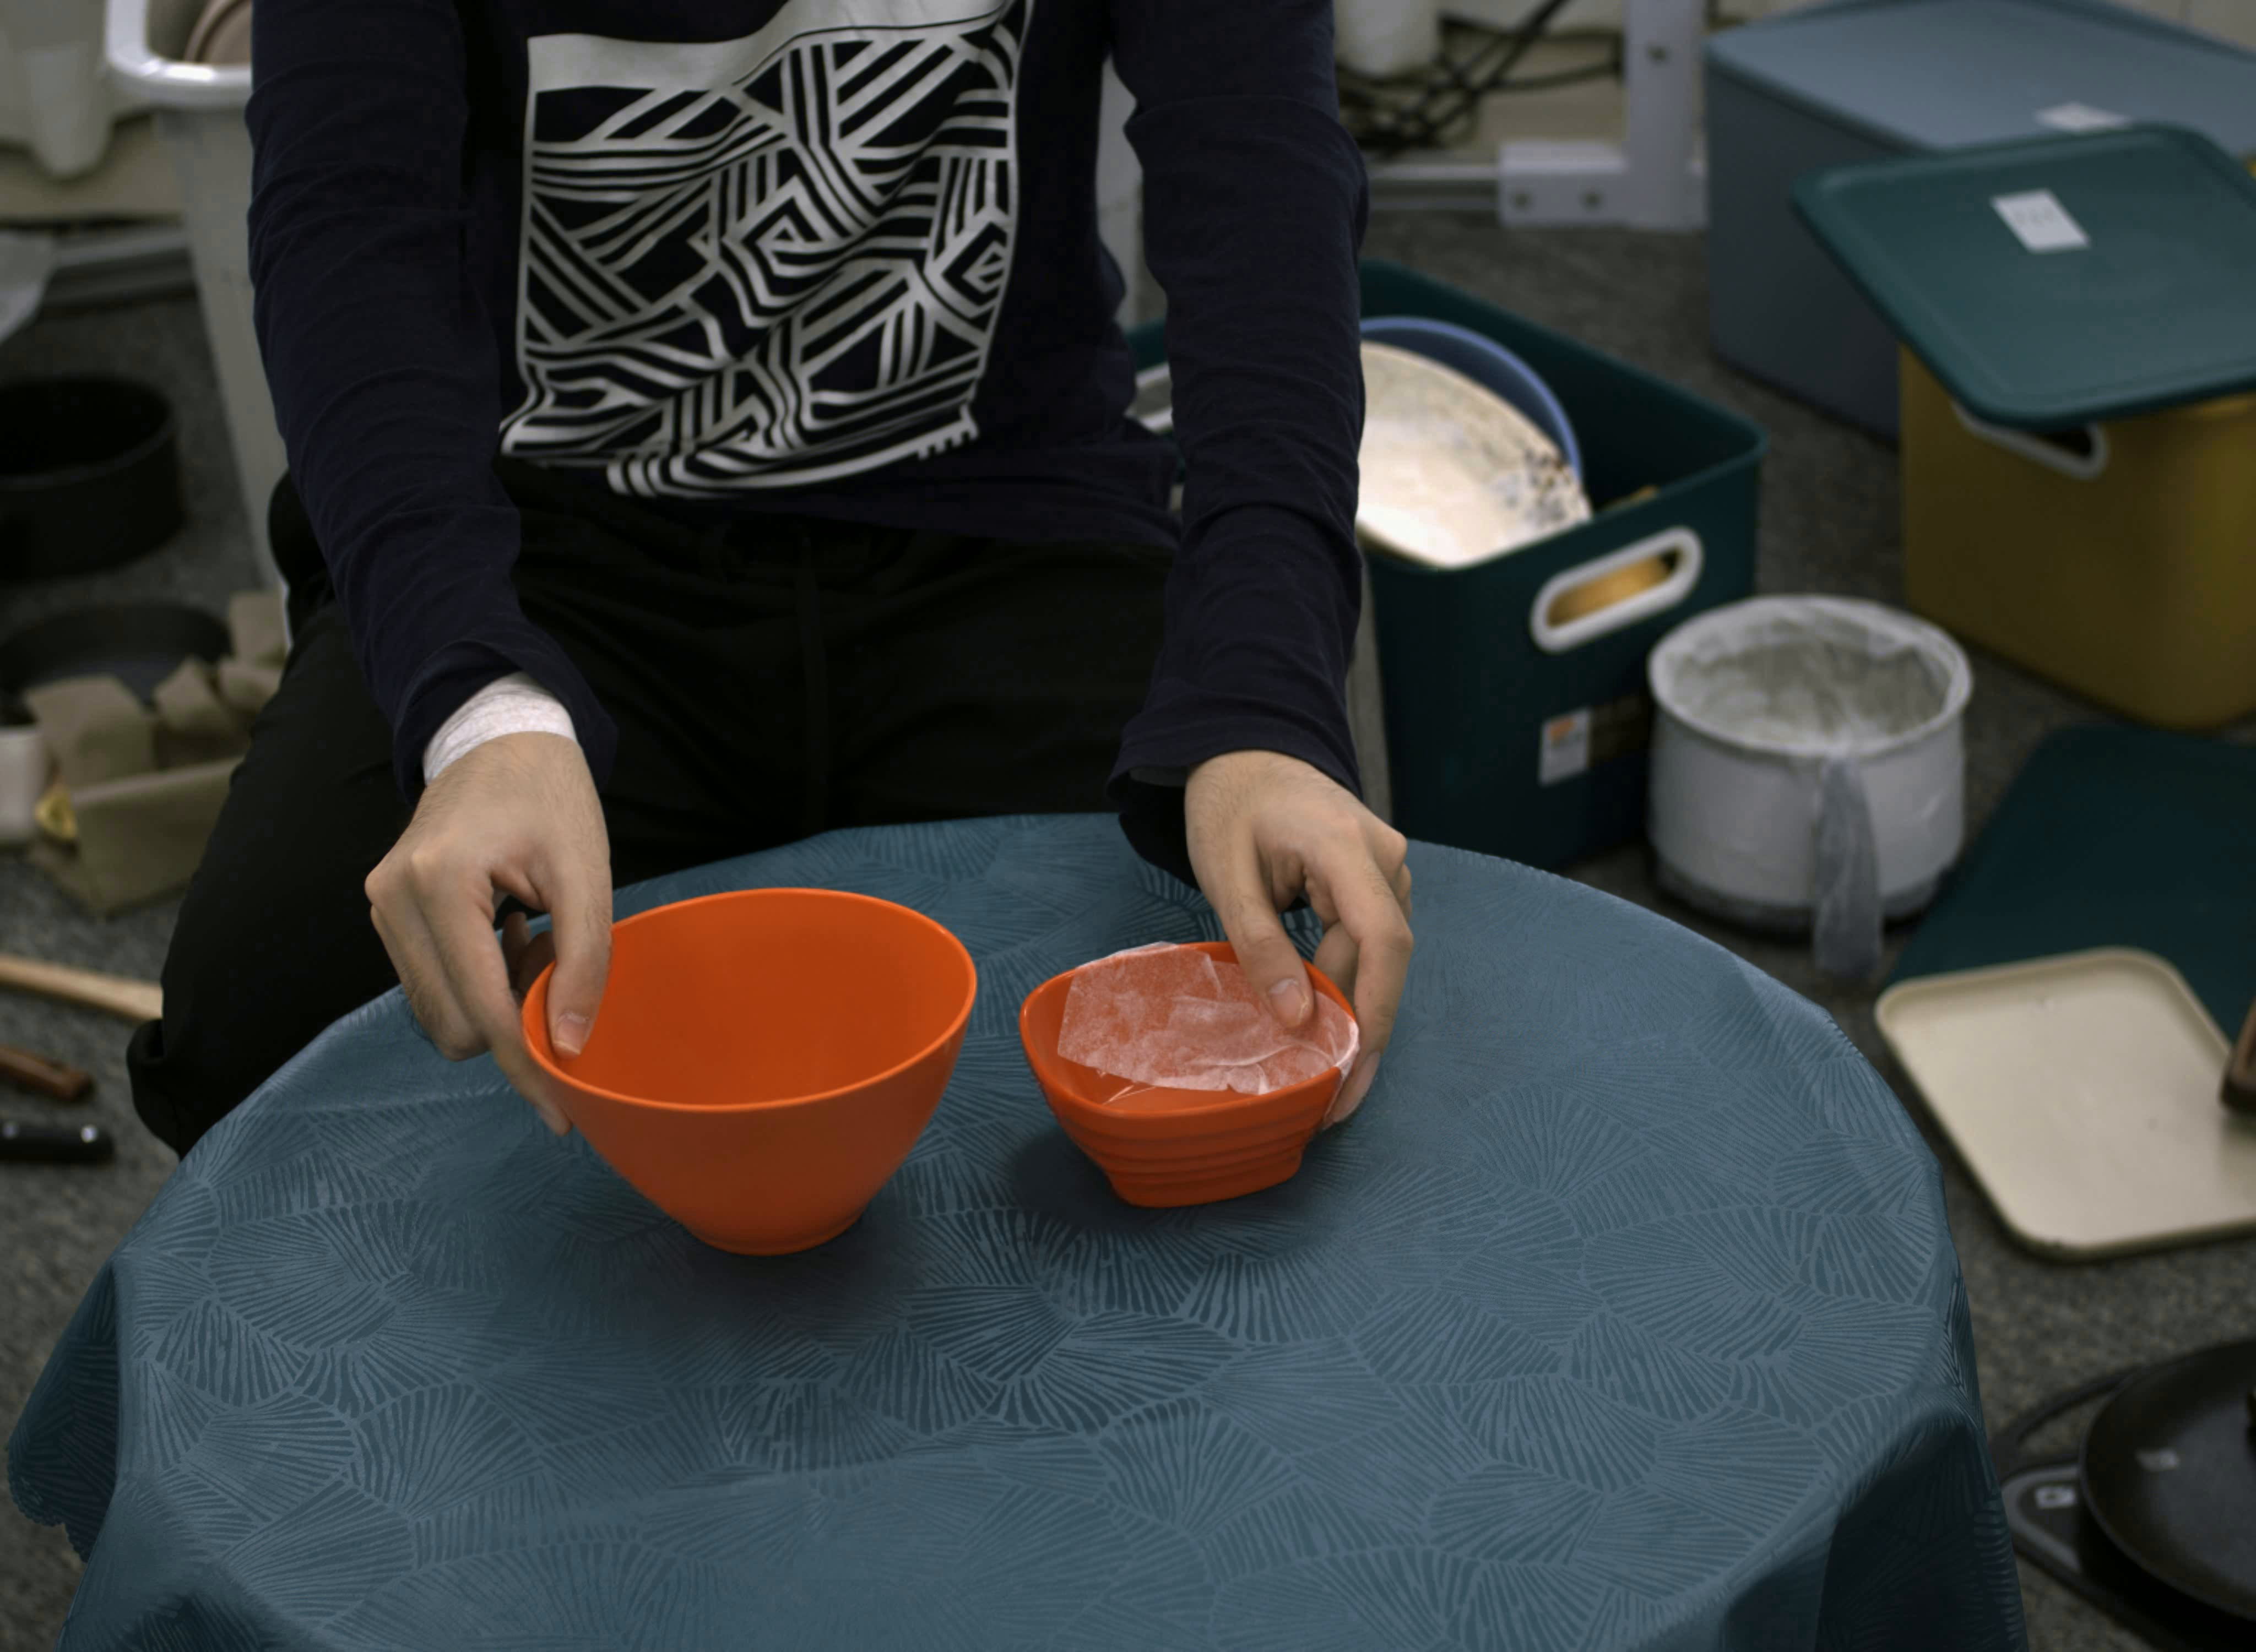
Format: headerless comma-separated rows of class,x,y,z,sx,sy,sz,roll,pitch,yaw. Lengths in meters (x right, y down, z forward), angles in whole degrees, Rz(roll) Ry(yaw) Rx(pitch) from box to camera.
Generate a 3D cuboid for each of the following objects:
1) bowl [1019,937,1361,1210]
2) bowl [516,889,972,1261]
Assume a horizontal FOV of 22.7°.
bowl,0.022,0.087,1.872,0.118,0.051,0.121,-3,28,2
bowl,-0.121,0.089,1.824,0.147,0.103,0.151,-2,35,2
